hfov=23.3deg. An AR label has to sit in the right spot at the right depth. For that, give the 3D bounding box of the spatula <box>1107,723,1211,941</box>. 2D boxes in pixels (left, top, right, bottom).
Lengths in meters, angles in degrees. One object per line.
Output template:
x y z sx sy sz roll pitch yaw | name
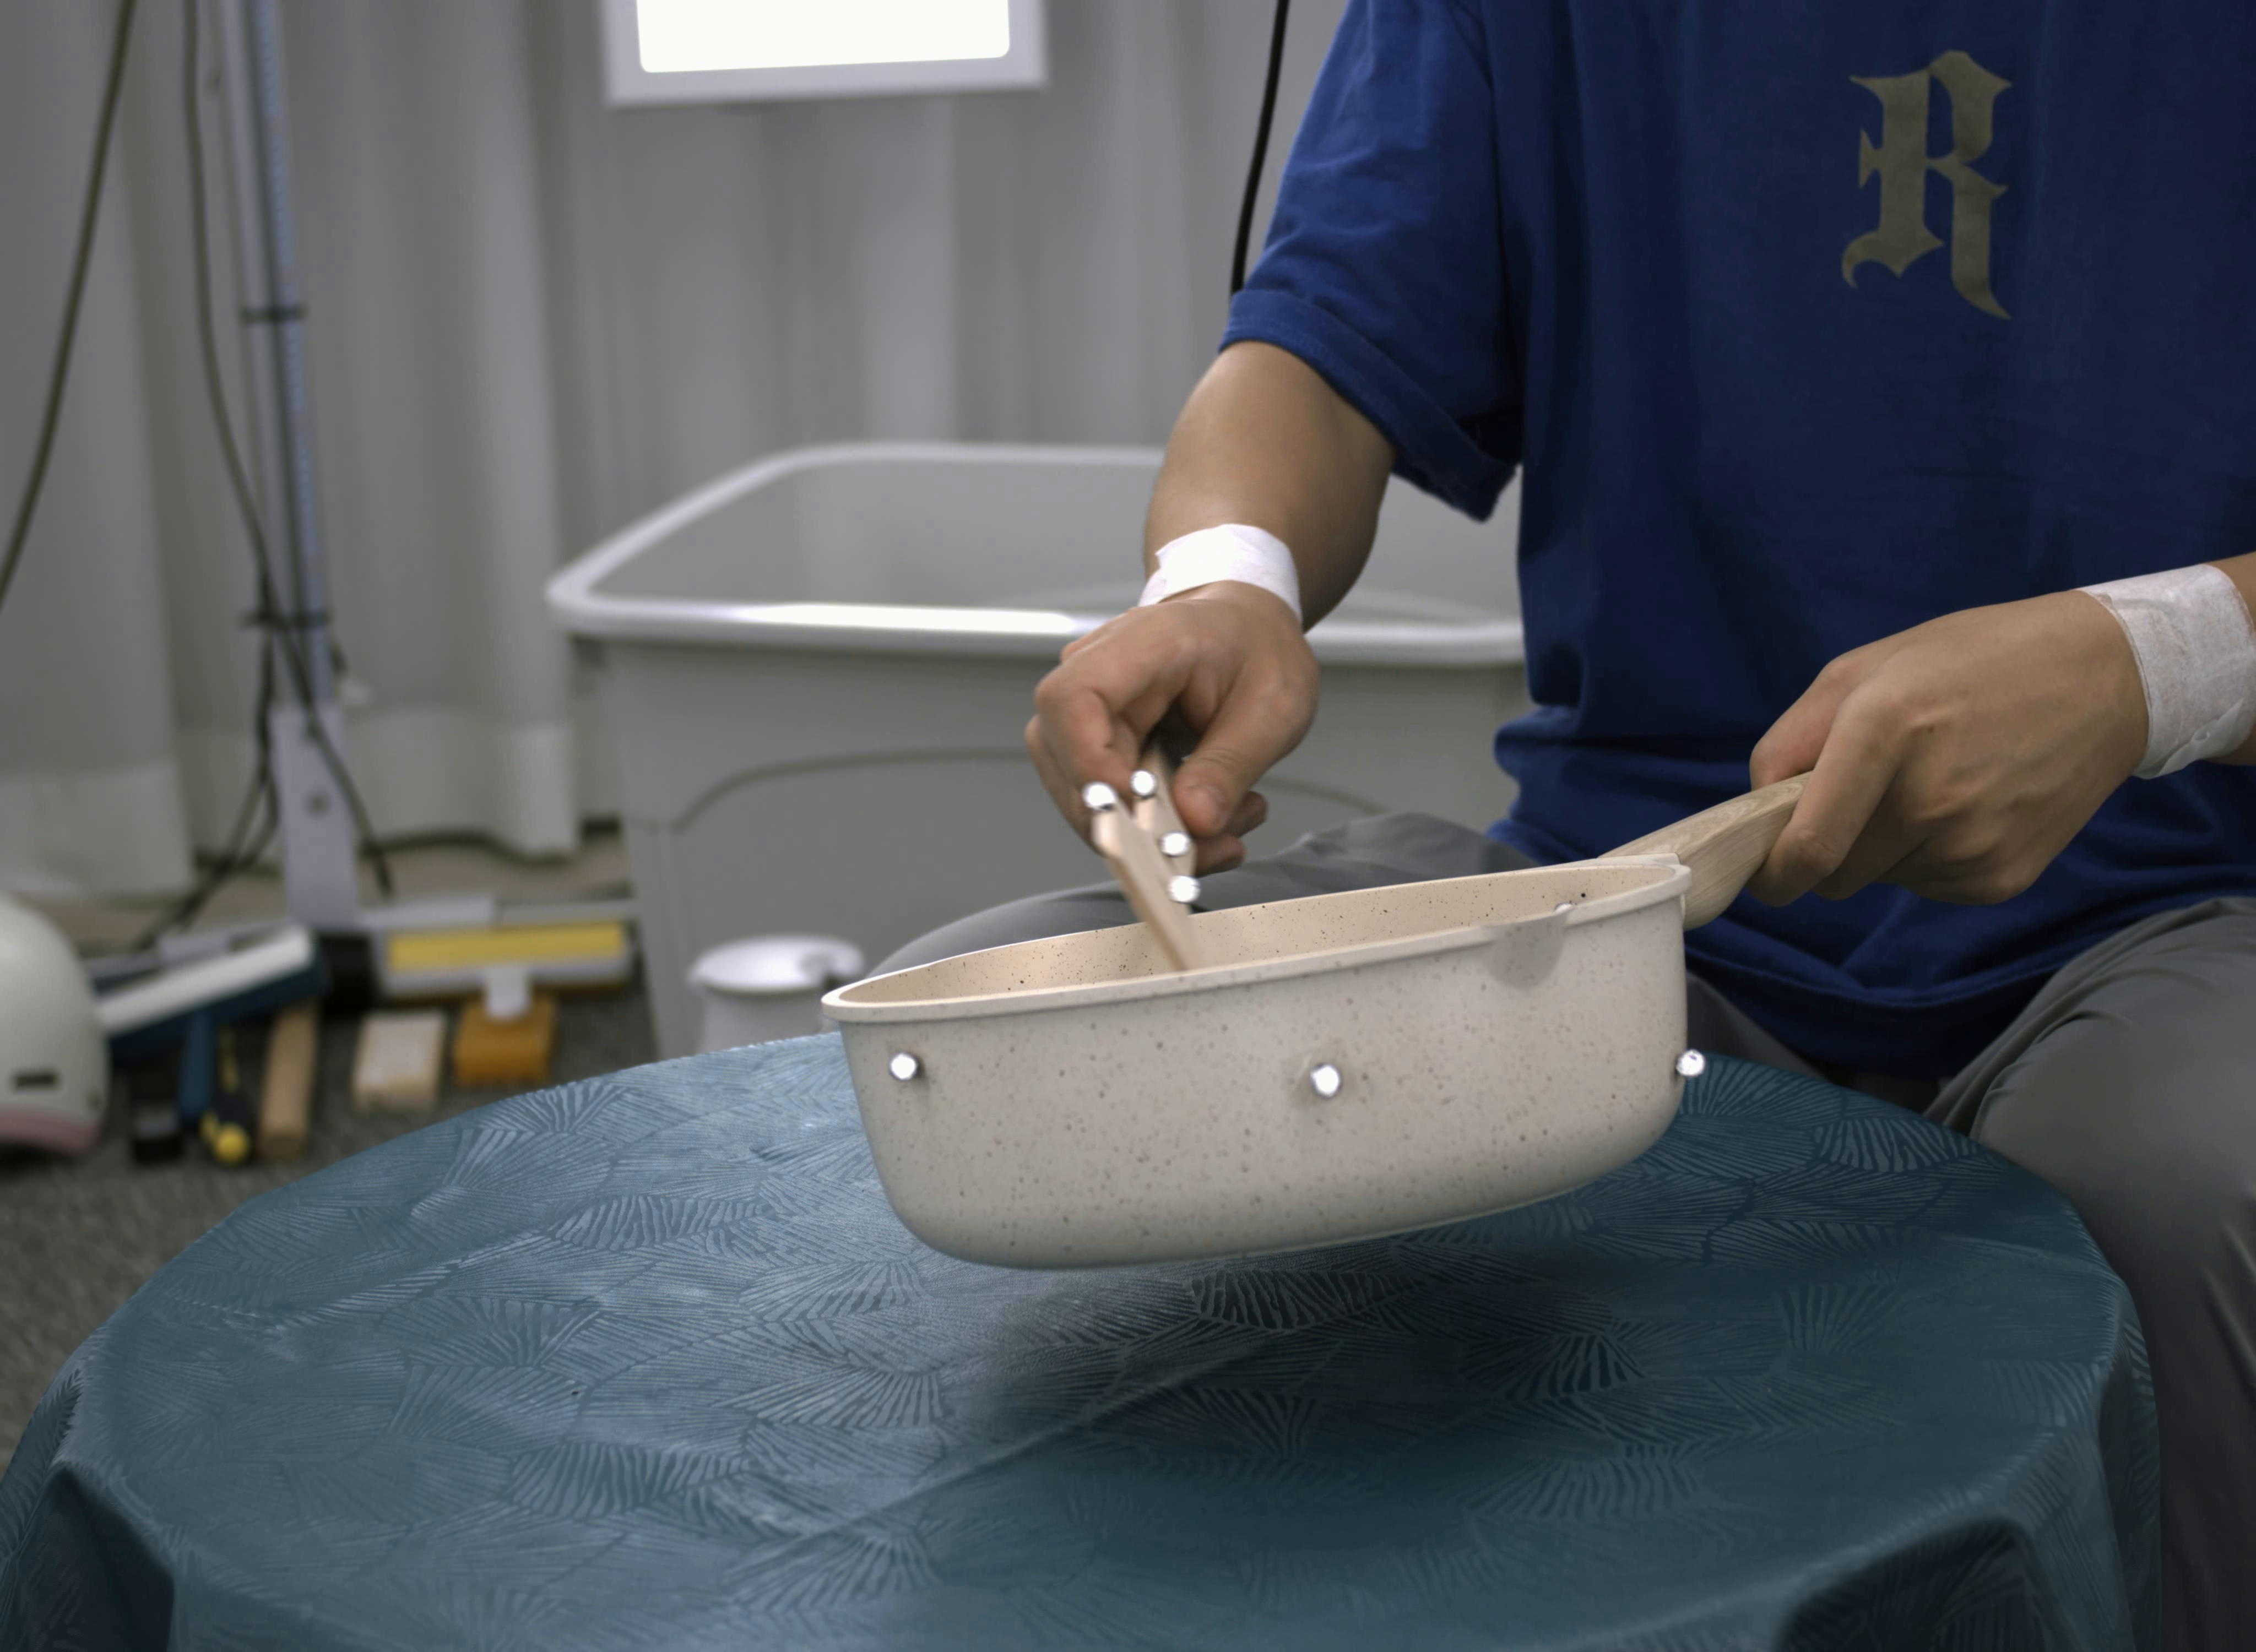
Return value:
0.014 0.007 1.656 0.010 0.072 0.294 -28 10 7 | spatula

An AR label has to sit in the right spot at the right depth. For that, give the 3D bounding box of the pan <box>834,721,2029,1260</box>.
0.117 0.047 1.609 0.433 0.102 0.263 -10 1 -36 | pan
